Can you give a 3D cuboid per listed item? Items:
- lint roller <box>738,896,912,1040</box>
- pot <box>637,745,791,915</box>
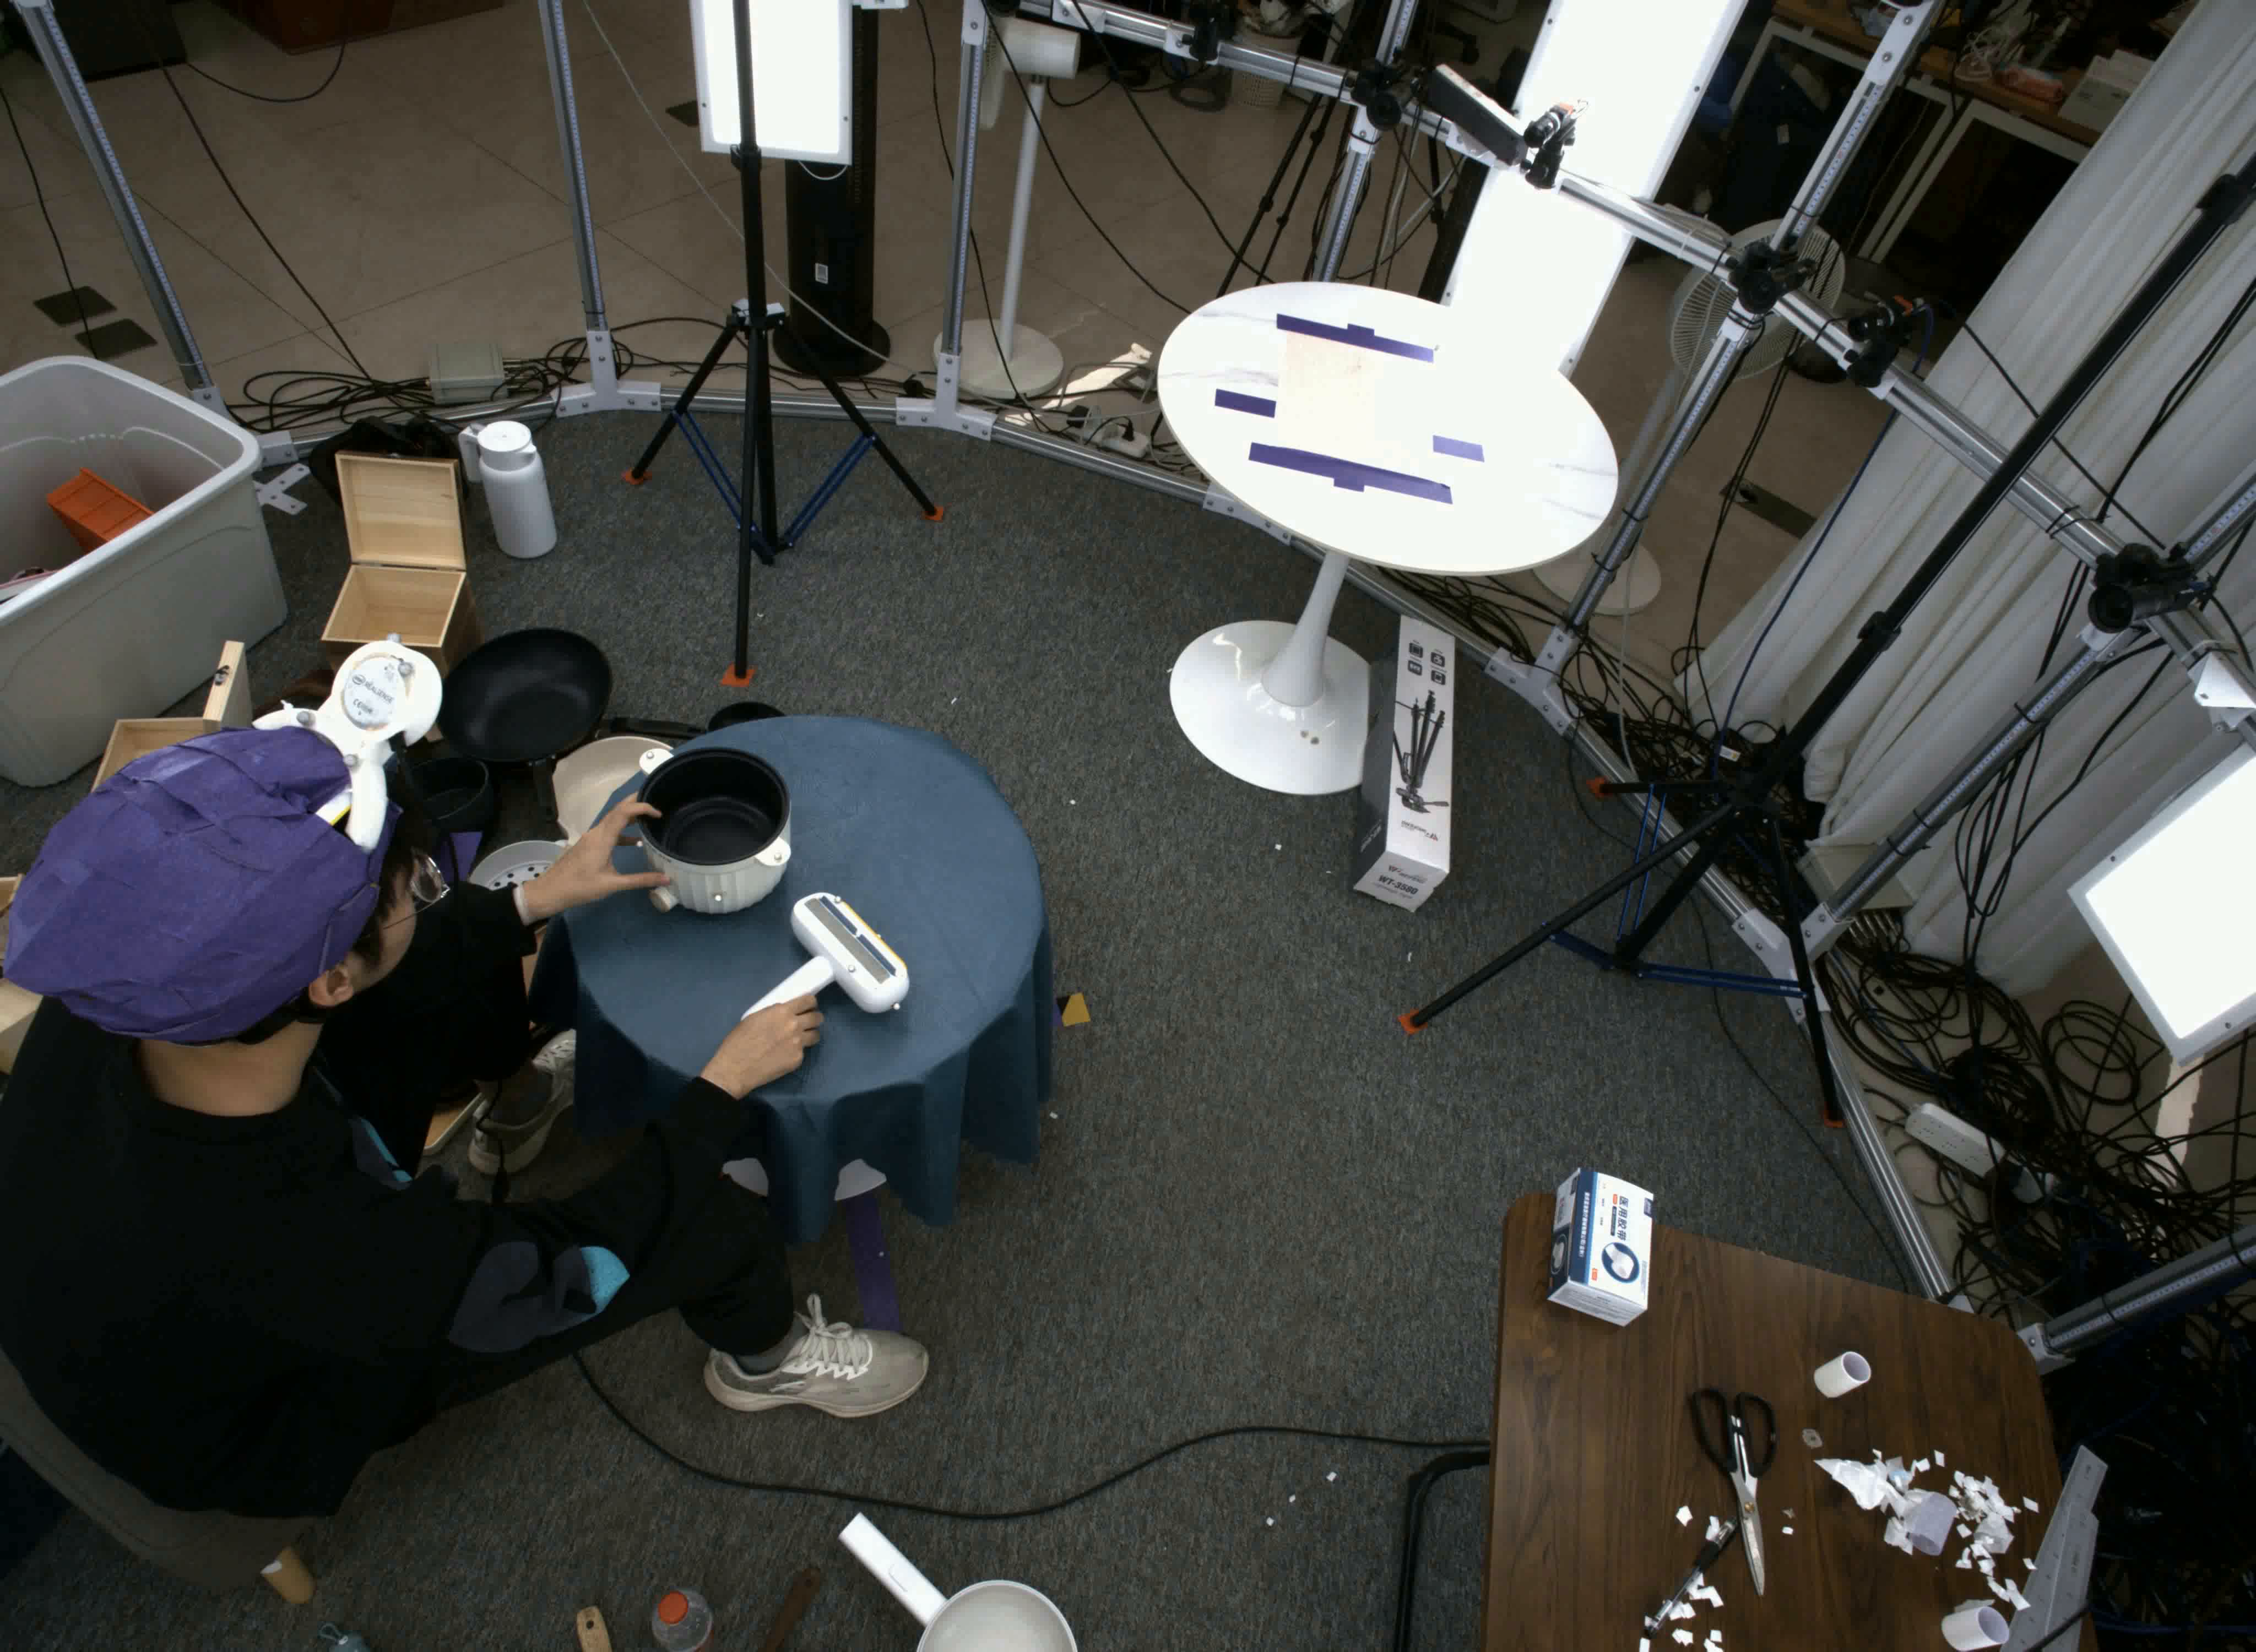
[{"bbox_3d":[-0.382,0.185,1.560,0.193,0.076,0.187,-29,60,-29],"label":"lint roller"},{"bbox_3d":[-0.514,0.015,1.605,0.236,0.145,0.190,33,50,13],"label":"pot"}]
